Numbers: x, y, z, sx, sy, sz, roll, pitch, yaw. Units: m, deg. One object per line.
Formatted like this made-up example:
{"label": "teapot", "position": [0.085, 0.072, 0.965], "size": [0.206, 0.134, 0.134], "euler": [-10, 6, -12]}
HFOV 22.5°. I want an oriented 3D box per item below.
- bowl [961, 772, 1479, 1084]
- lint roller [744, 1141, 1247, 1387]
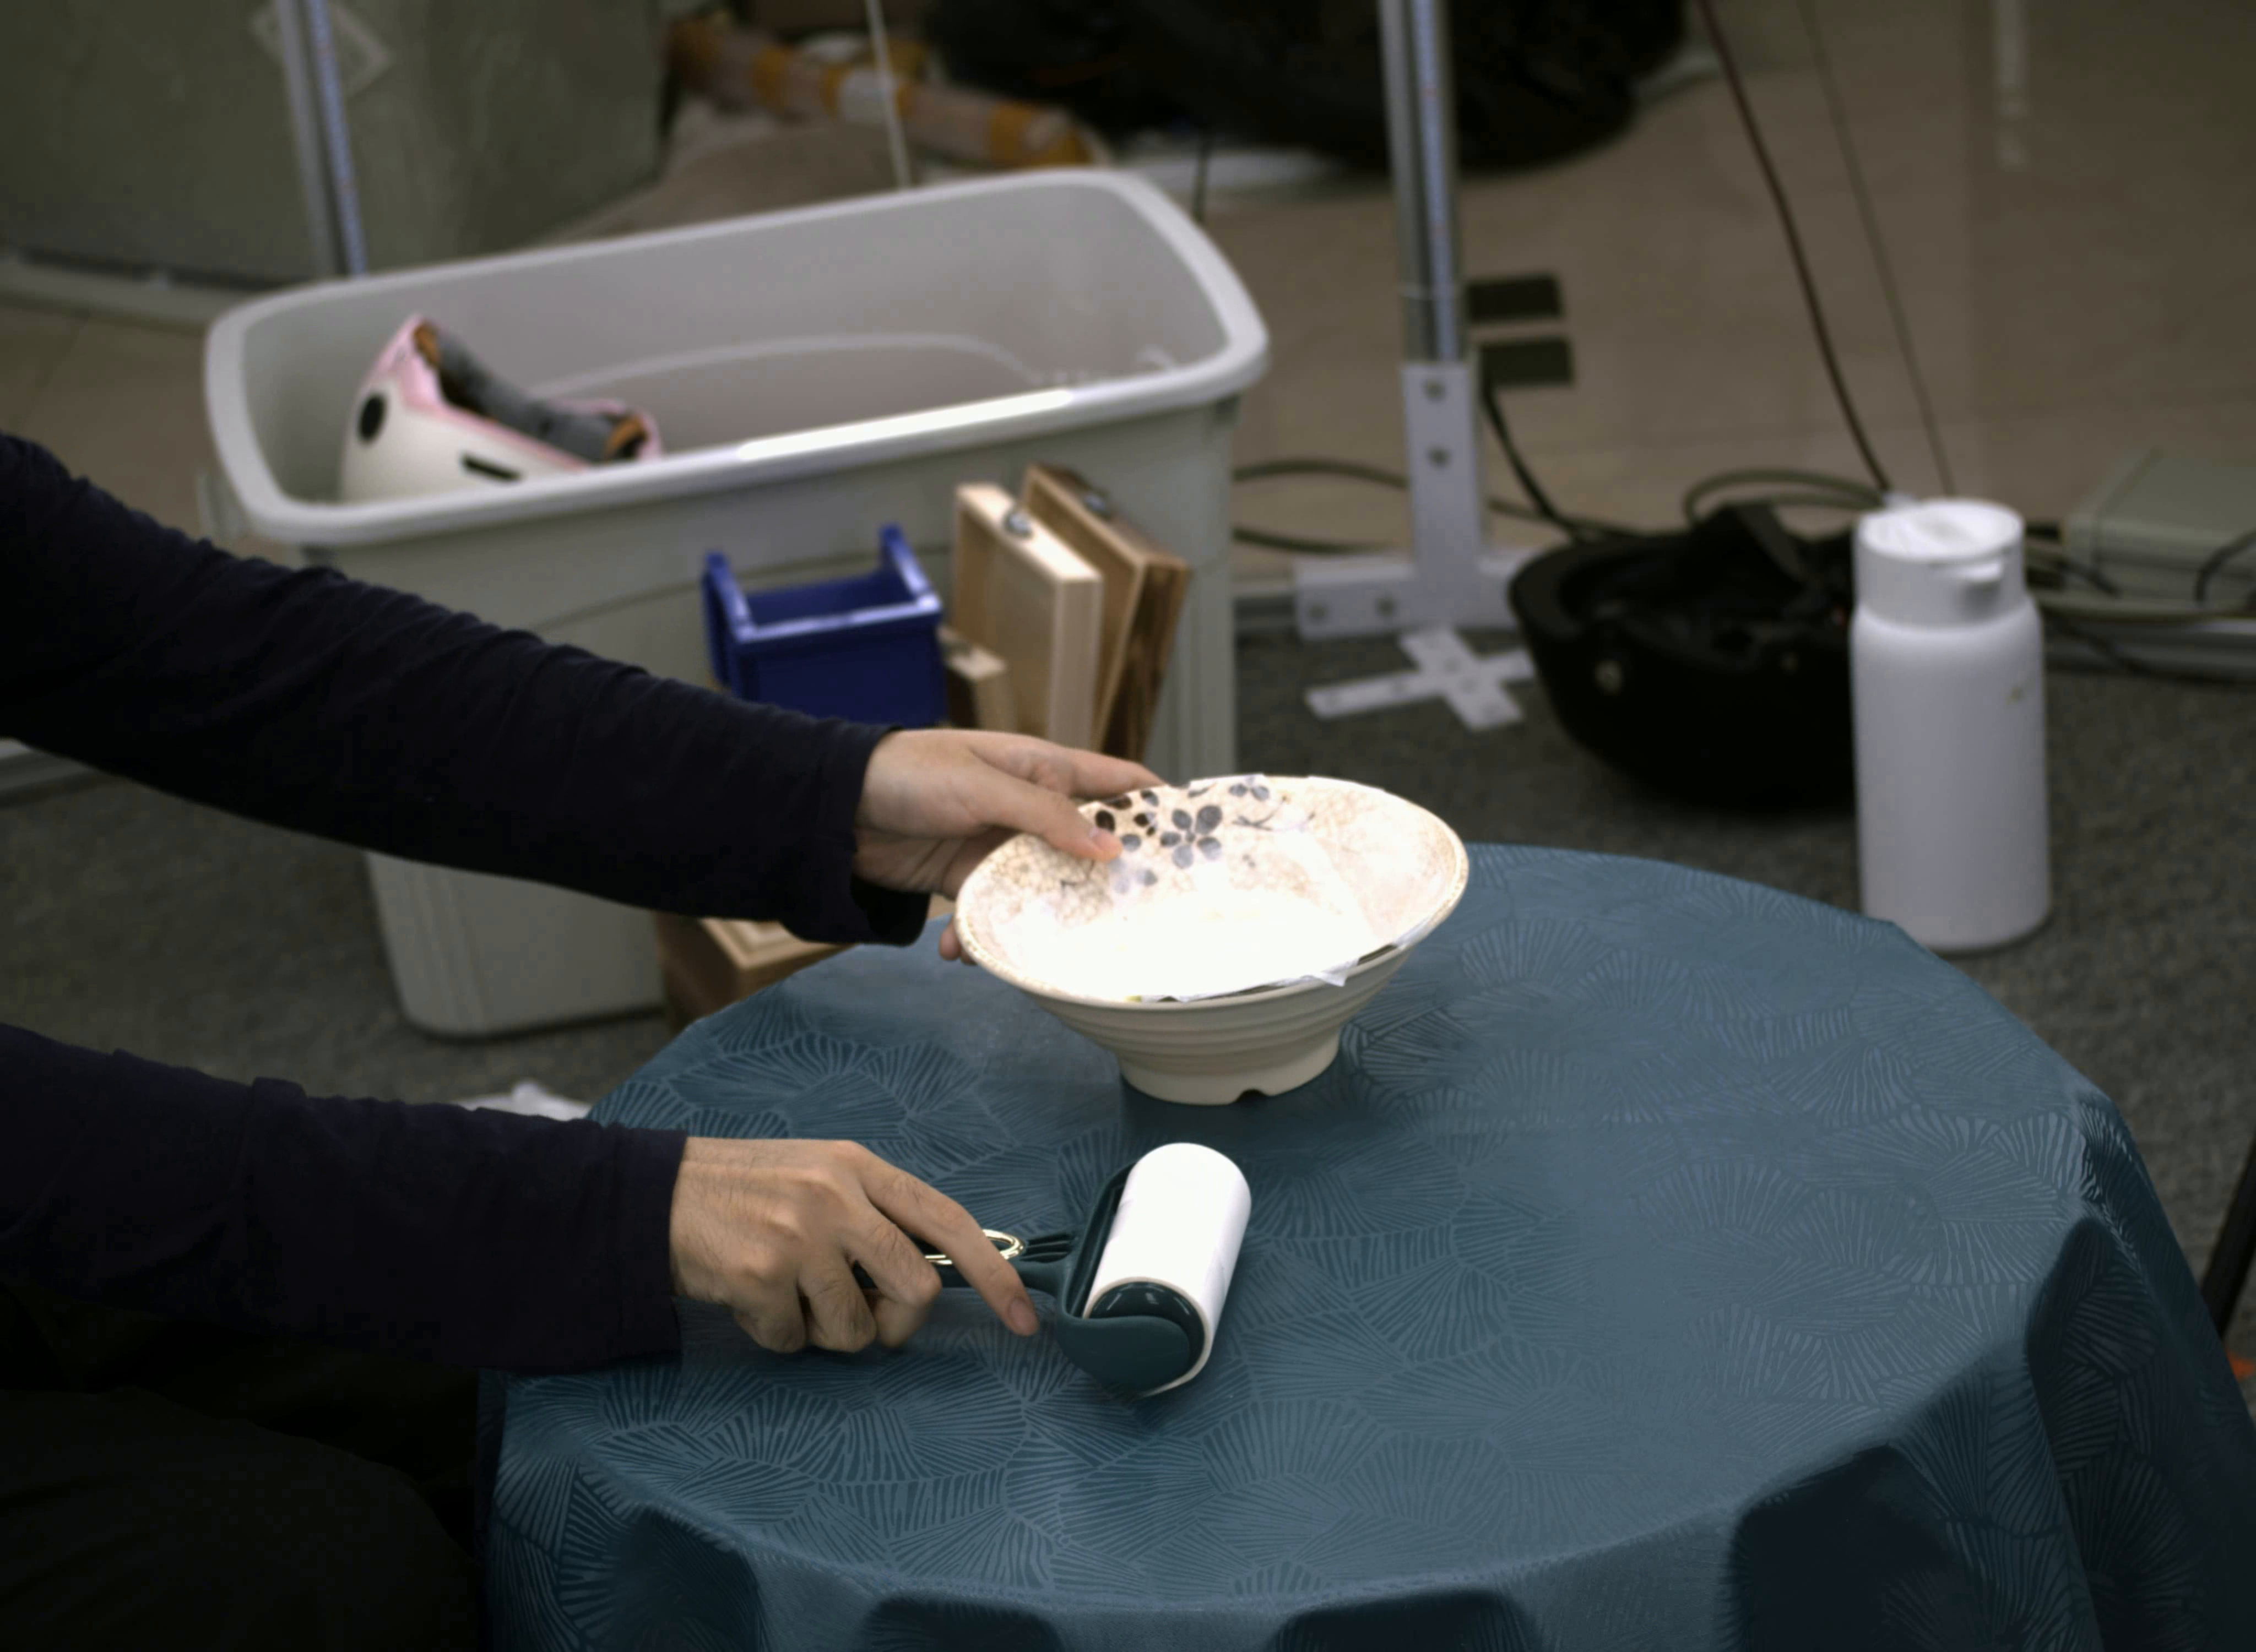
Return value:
{"label": "bowl", "position": [0.039, 0.049, 2.227], "size": [0.203, 0.079, 0.201], "euler": [-4, 21, 2]}
{"label": "lint roller", "position": [-0.052, 0.154, 2.058], "size": [0.180, 0.049, 0.132], "euler": [4, 26, 8]}
